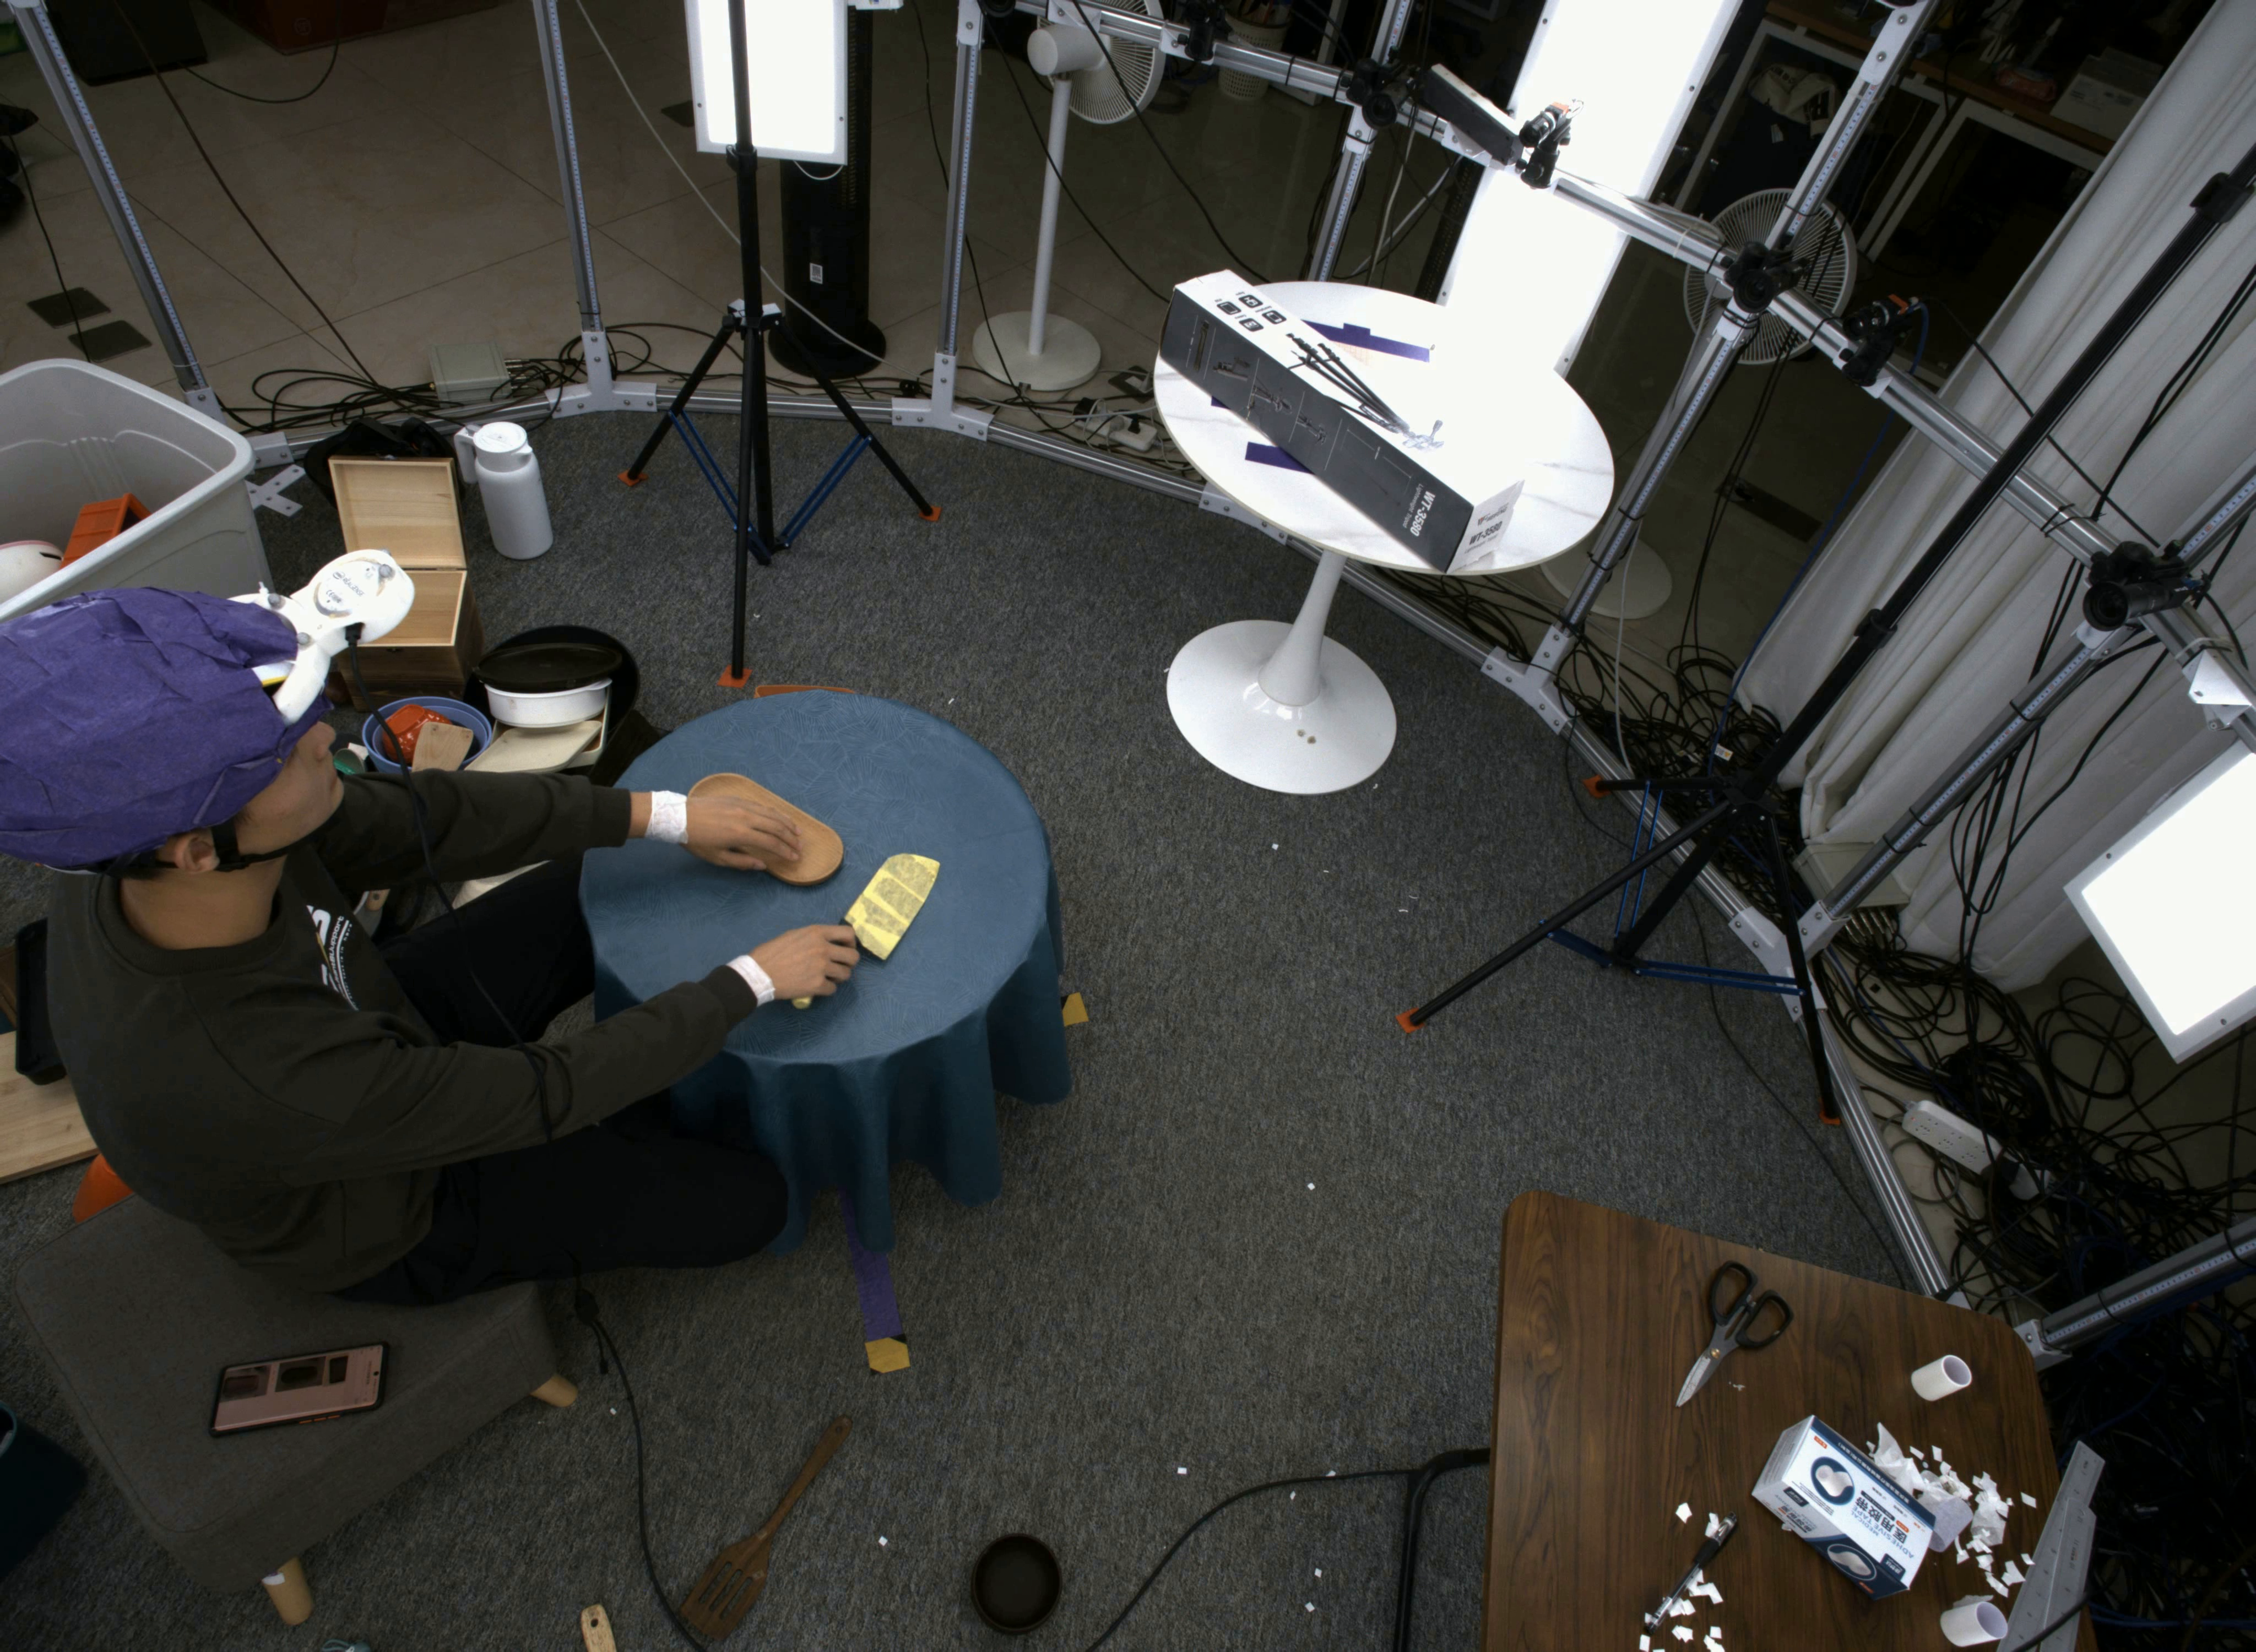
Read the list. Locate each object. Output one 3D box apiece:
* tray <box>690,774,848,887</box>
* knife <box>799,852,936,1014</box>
[{"bbox_3d":[-0.474,0.004,1.709,0.228,0.021,0.101,30,54,7],"label":"tray"},{"bbox_3d":[-0.323,0.130,1.641,0.081,0.027,0.287,36,49,-6],"label":"knife"}]
